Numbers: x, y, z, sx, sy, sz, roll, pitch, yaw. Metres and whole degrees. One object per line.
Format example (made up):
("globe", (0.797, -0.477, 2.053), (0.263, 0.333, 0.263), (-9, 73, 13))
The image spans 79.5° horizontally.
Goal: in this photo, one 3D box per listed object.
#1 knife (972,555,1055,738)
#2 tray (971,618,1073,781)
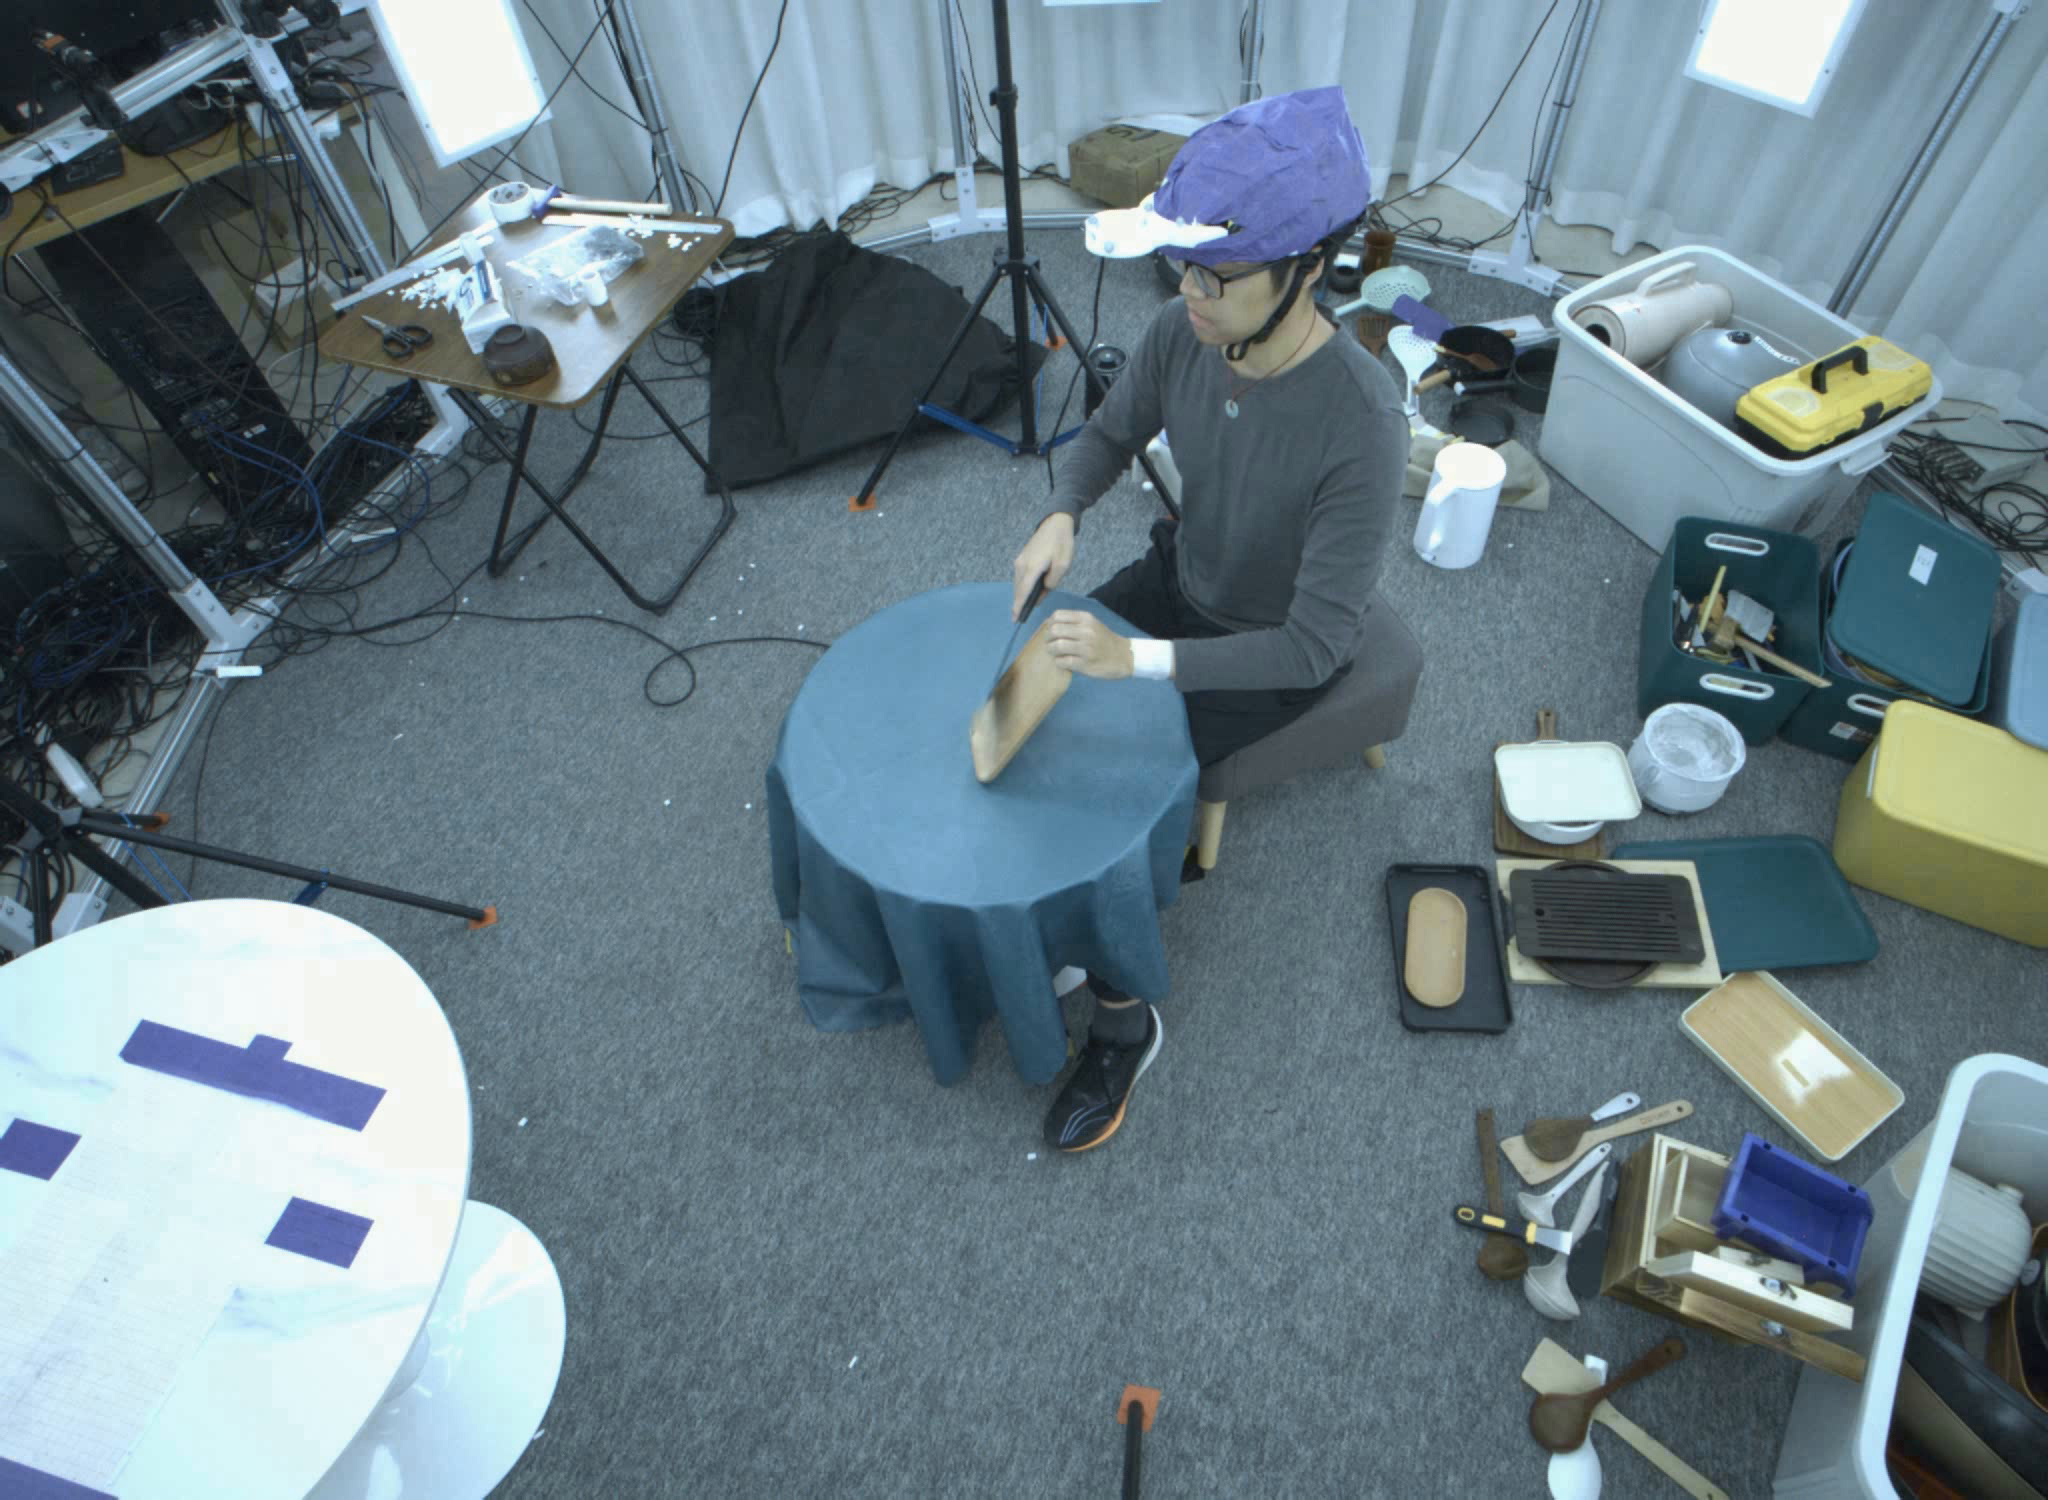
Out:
("knife", (-0.016, -0.154, 1.772), (0.021, 0.080, 0.302), (25, 72, -9))
("tray", (-0.006, -0.067, 1.711), (0.023, 0.249, 0.128), (13, 47, -30))
